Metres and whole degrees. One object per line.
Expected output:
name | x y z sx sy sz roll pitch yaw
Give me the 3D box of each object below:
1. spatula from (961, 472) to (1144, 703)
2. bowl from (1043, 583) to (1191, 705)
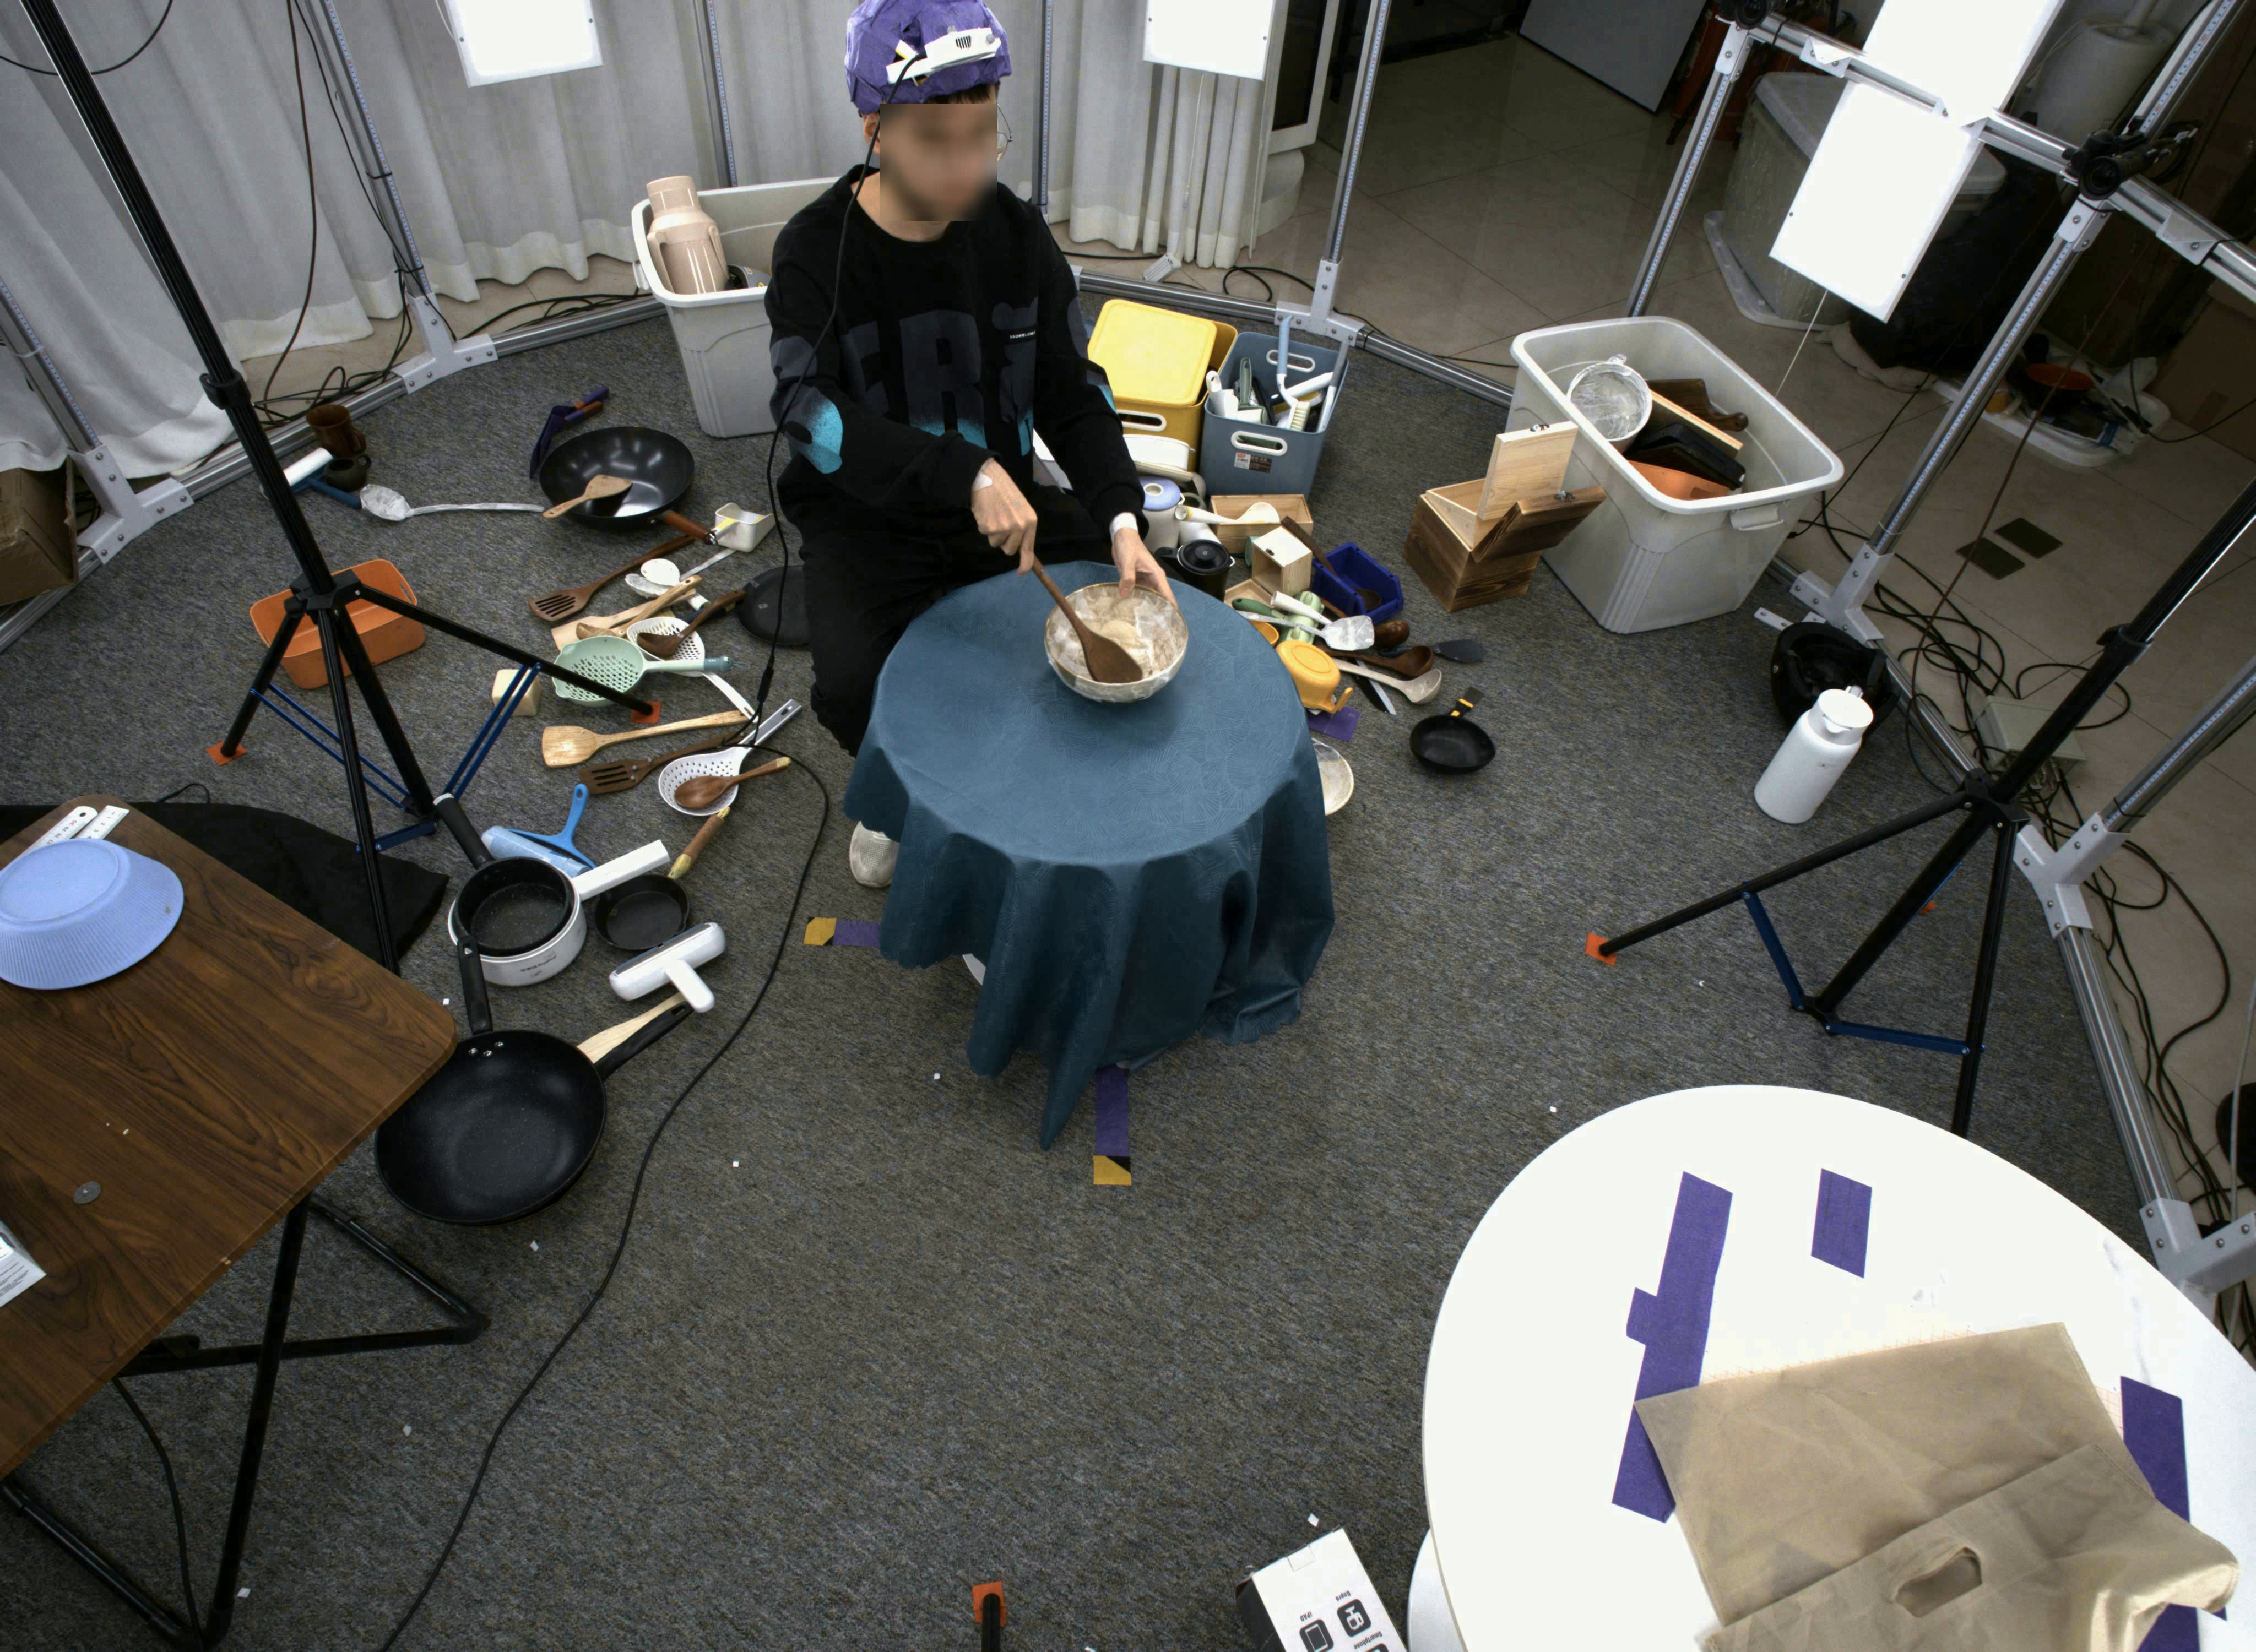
spatula | -0.105 -0.333 1.791 0.382 0.015 0.098 52 42 -15
bowl | -0.015 -0.246 1.835 0.214 0.092 0.220 -1 50 2
